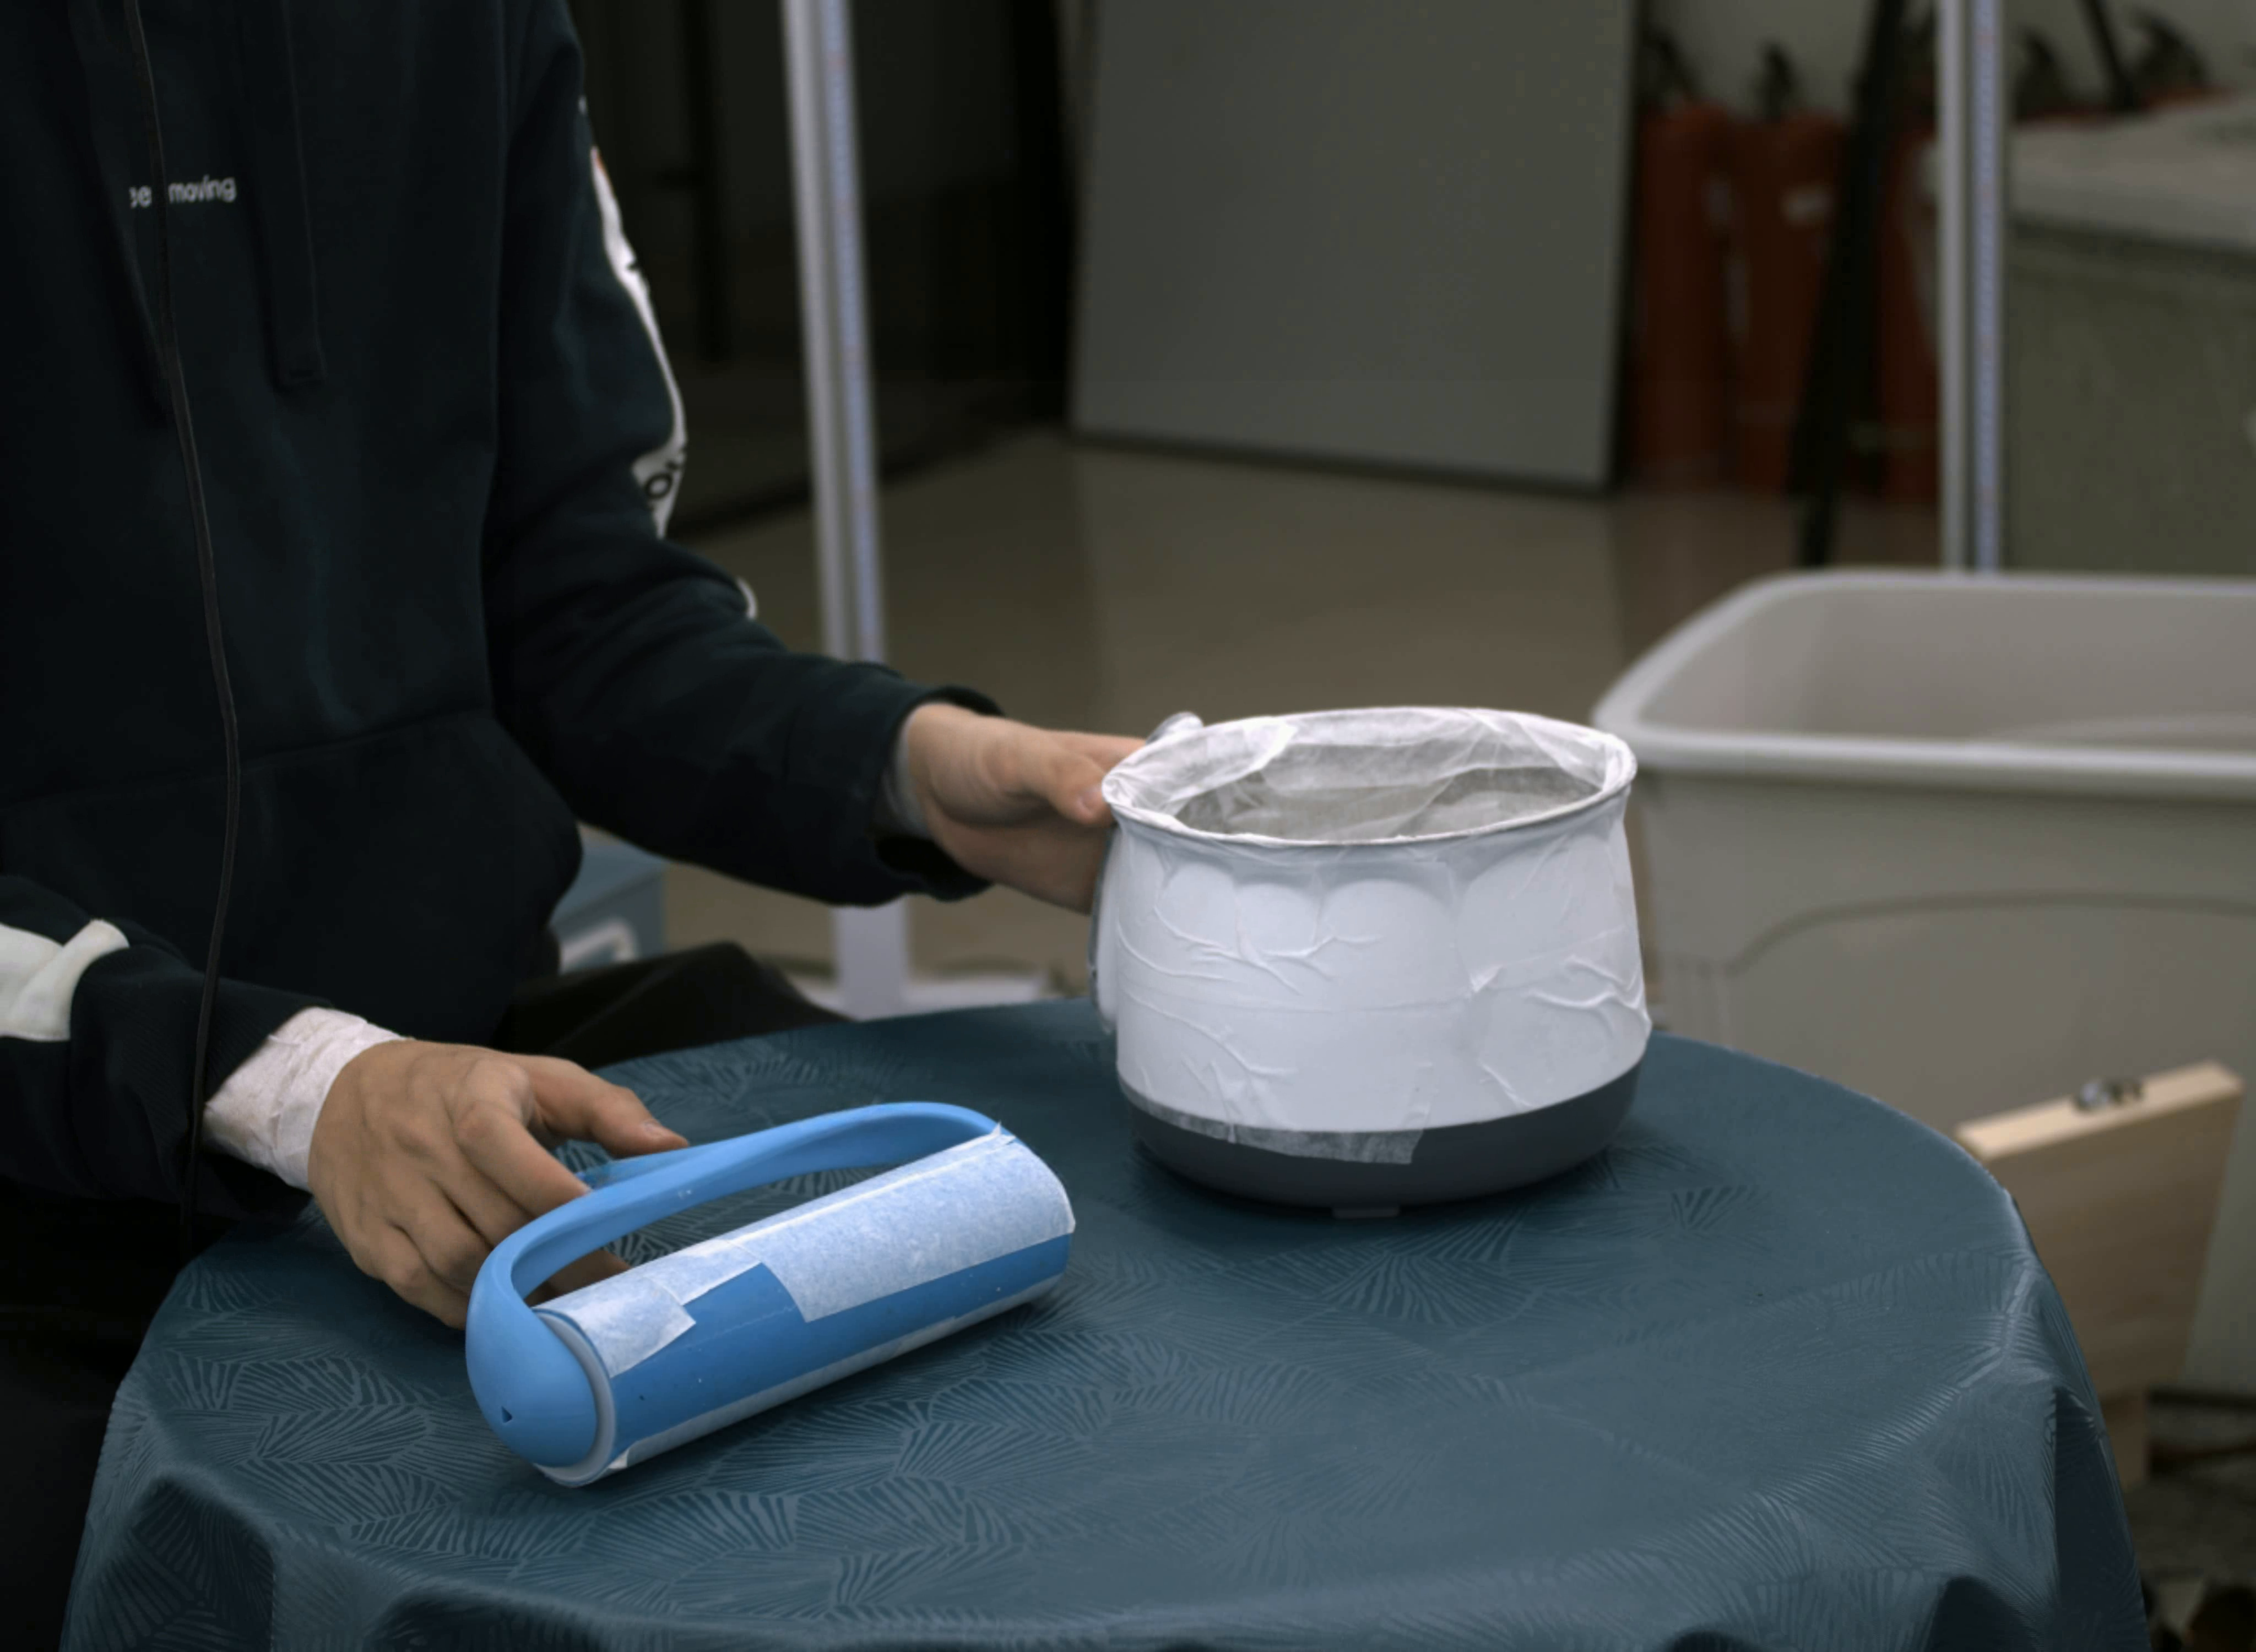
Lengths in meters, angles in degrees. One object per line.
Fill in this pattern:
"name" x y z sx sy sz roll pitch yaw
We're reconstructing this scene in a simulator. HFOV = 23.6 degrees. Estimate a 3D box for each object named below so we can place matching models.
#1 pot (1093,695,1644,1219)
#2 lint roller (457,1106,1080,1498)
"pot" 0.065 0.037 1.797 0.175 0.138 0.236 -13 18 -35
"lint roller" -0.142 0.135 1.639 0.181 0.068 0.225 8 20 38
